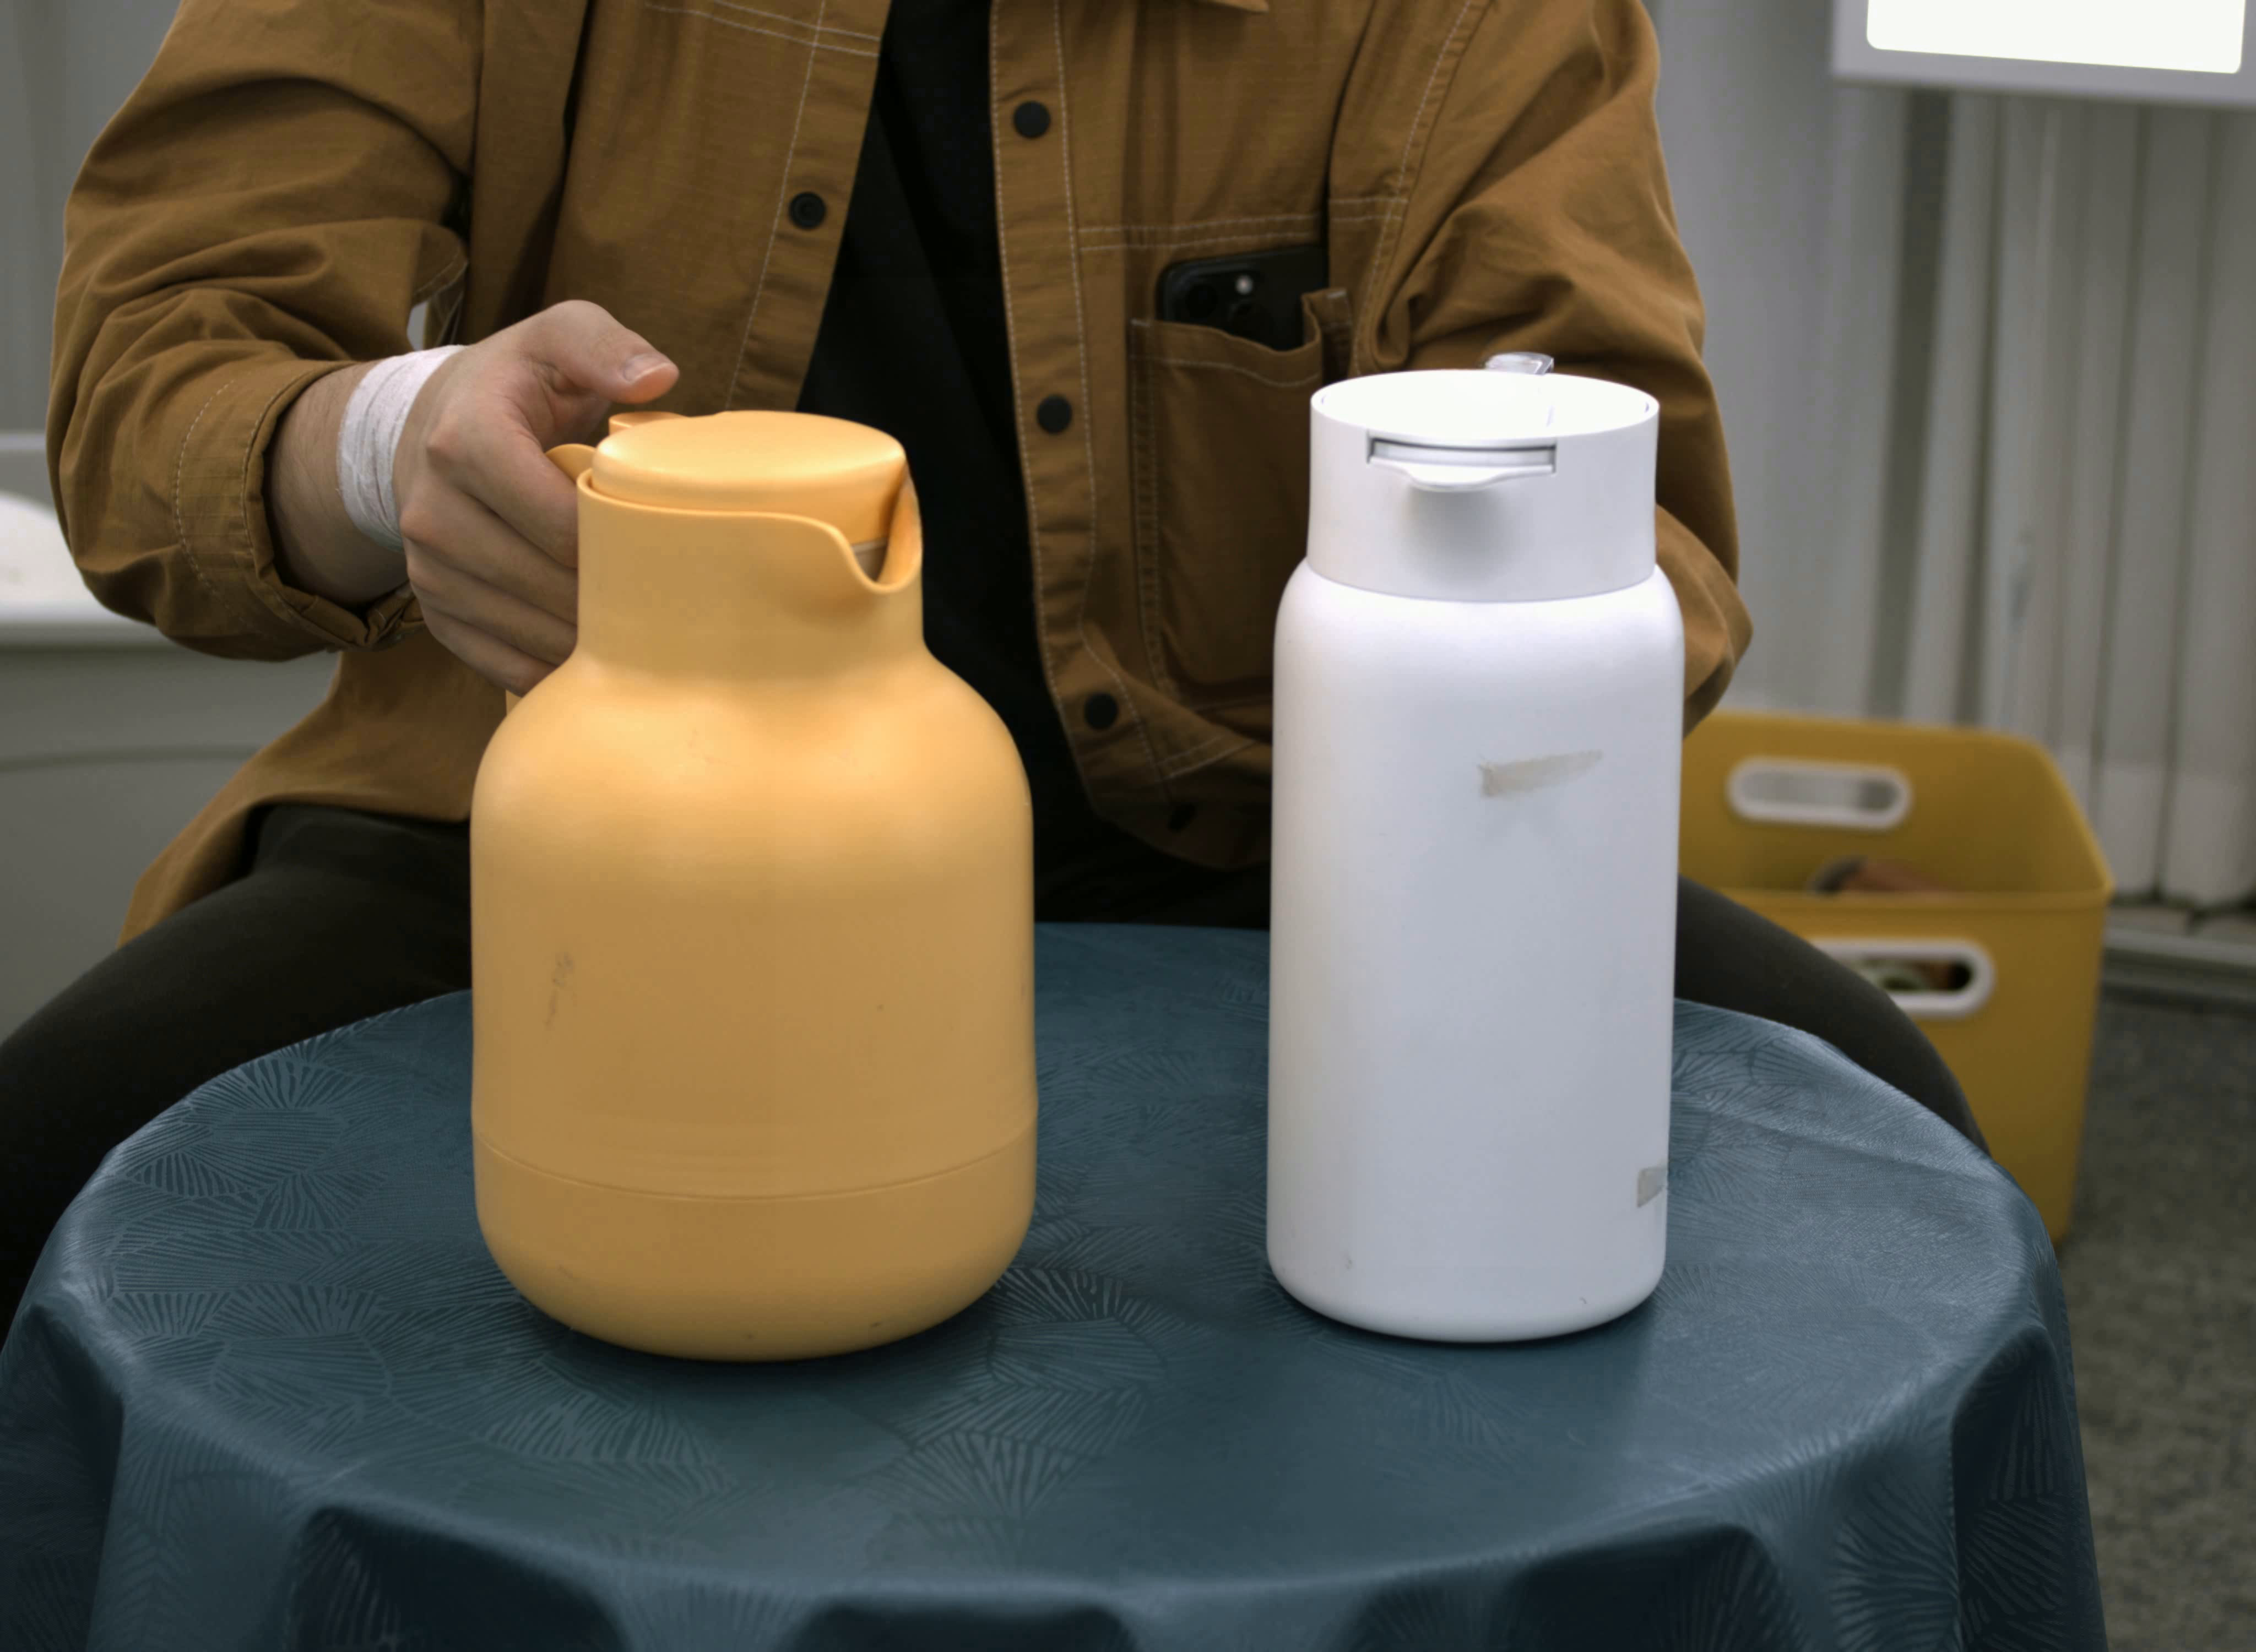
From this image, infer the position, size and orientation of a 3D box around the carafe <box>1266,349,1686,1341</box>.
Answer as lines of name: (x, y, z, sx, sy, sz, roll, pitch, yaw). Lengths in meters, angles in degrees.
carafe: (0.102, 0.001, 1.525, 0.123, 0.271, 0.172, 1, 16, 11)

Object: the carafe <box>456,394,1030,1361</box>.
carafe: (-0.117, 0.006, 1.508, 0.164, 0.262, 0.199, -7, 18, -33)
